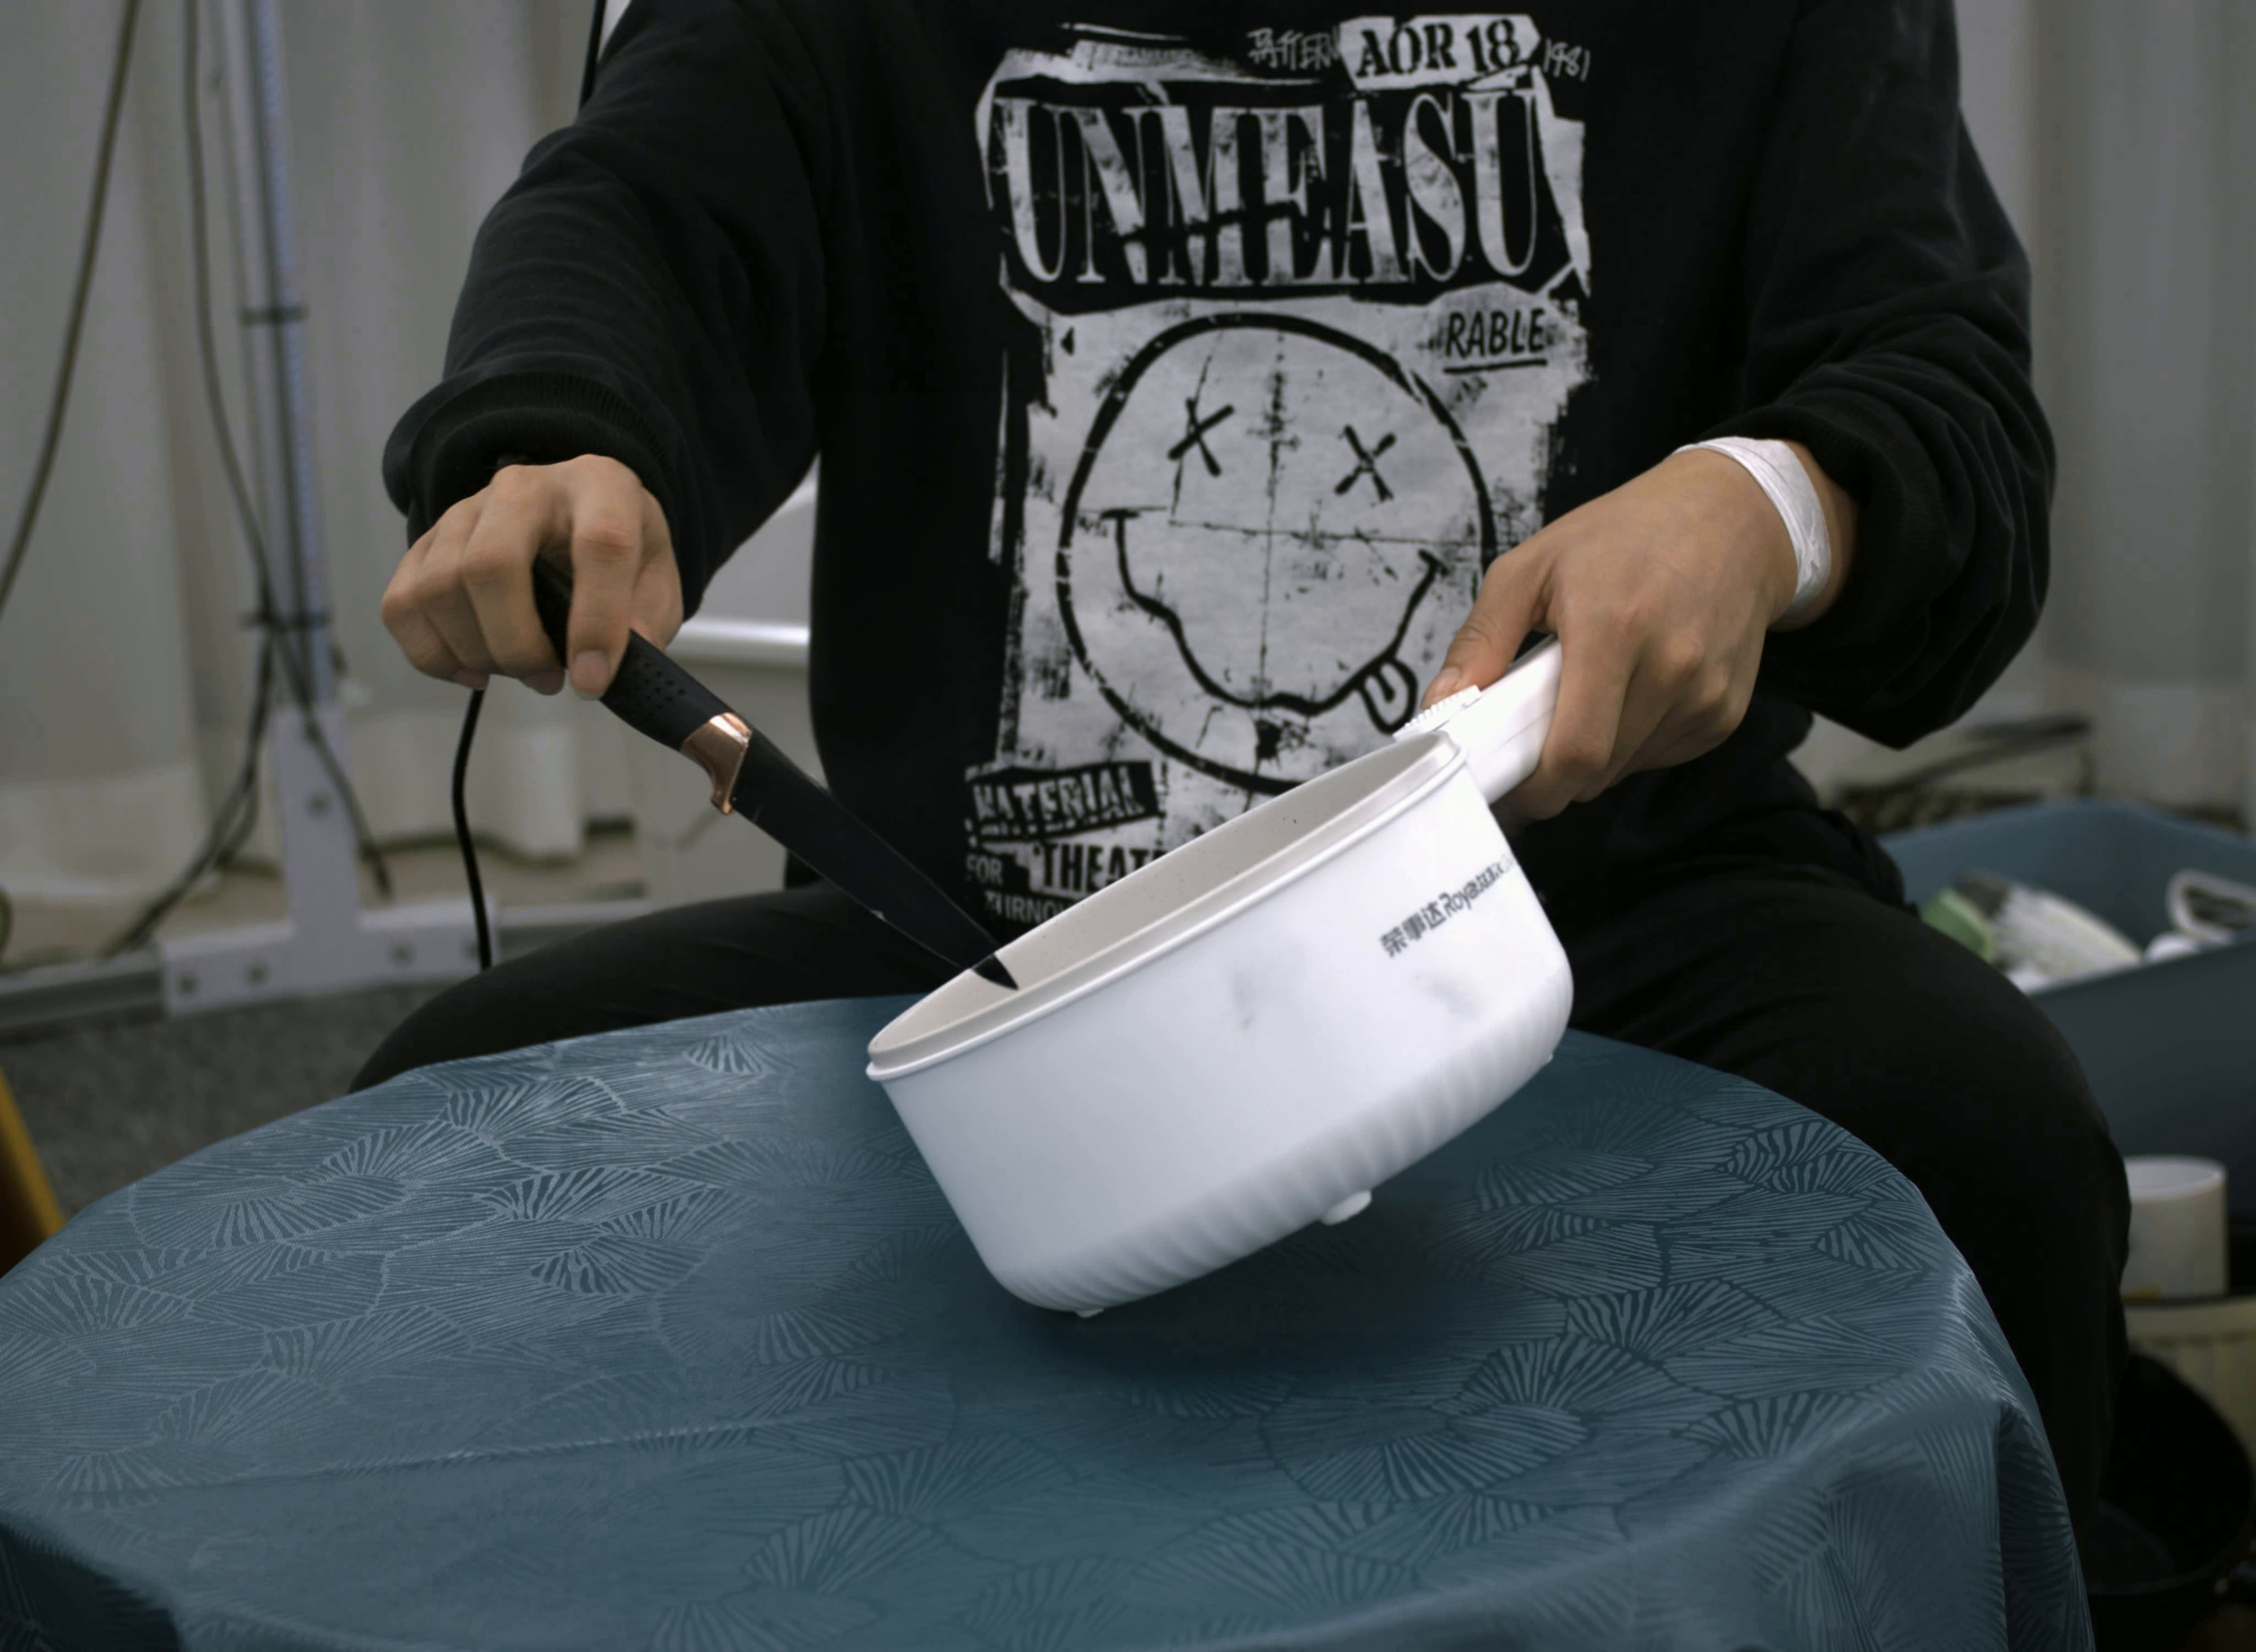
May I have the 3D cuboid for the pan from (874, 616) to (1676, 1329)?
[{"bbox_3d":[0.077,0.039,1.661,0.200,0.102,0.355,-27,3,41],"label":"pan"}]

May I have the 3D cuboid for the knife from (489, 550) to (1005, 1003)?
[{"bbox_3d":[-0.110,-0.014,1.603,0.227,0.026,0.017,38,24,26],"label":"knife"}]
